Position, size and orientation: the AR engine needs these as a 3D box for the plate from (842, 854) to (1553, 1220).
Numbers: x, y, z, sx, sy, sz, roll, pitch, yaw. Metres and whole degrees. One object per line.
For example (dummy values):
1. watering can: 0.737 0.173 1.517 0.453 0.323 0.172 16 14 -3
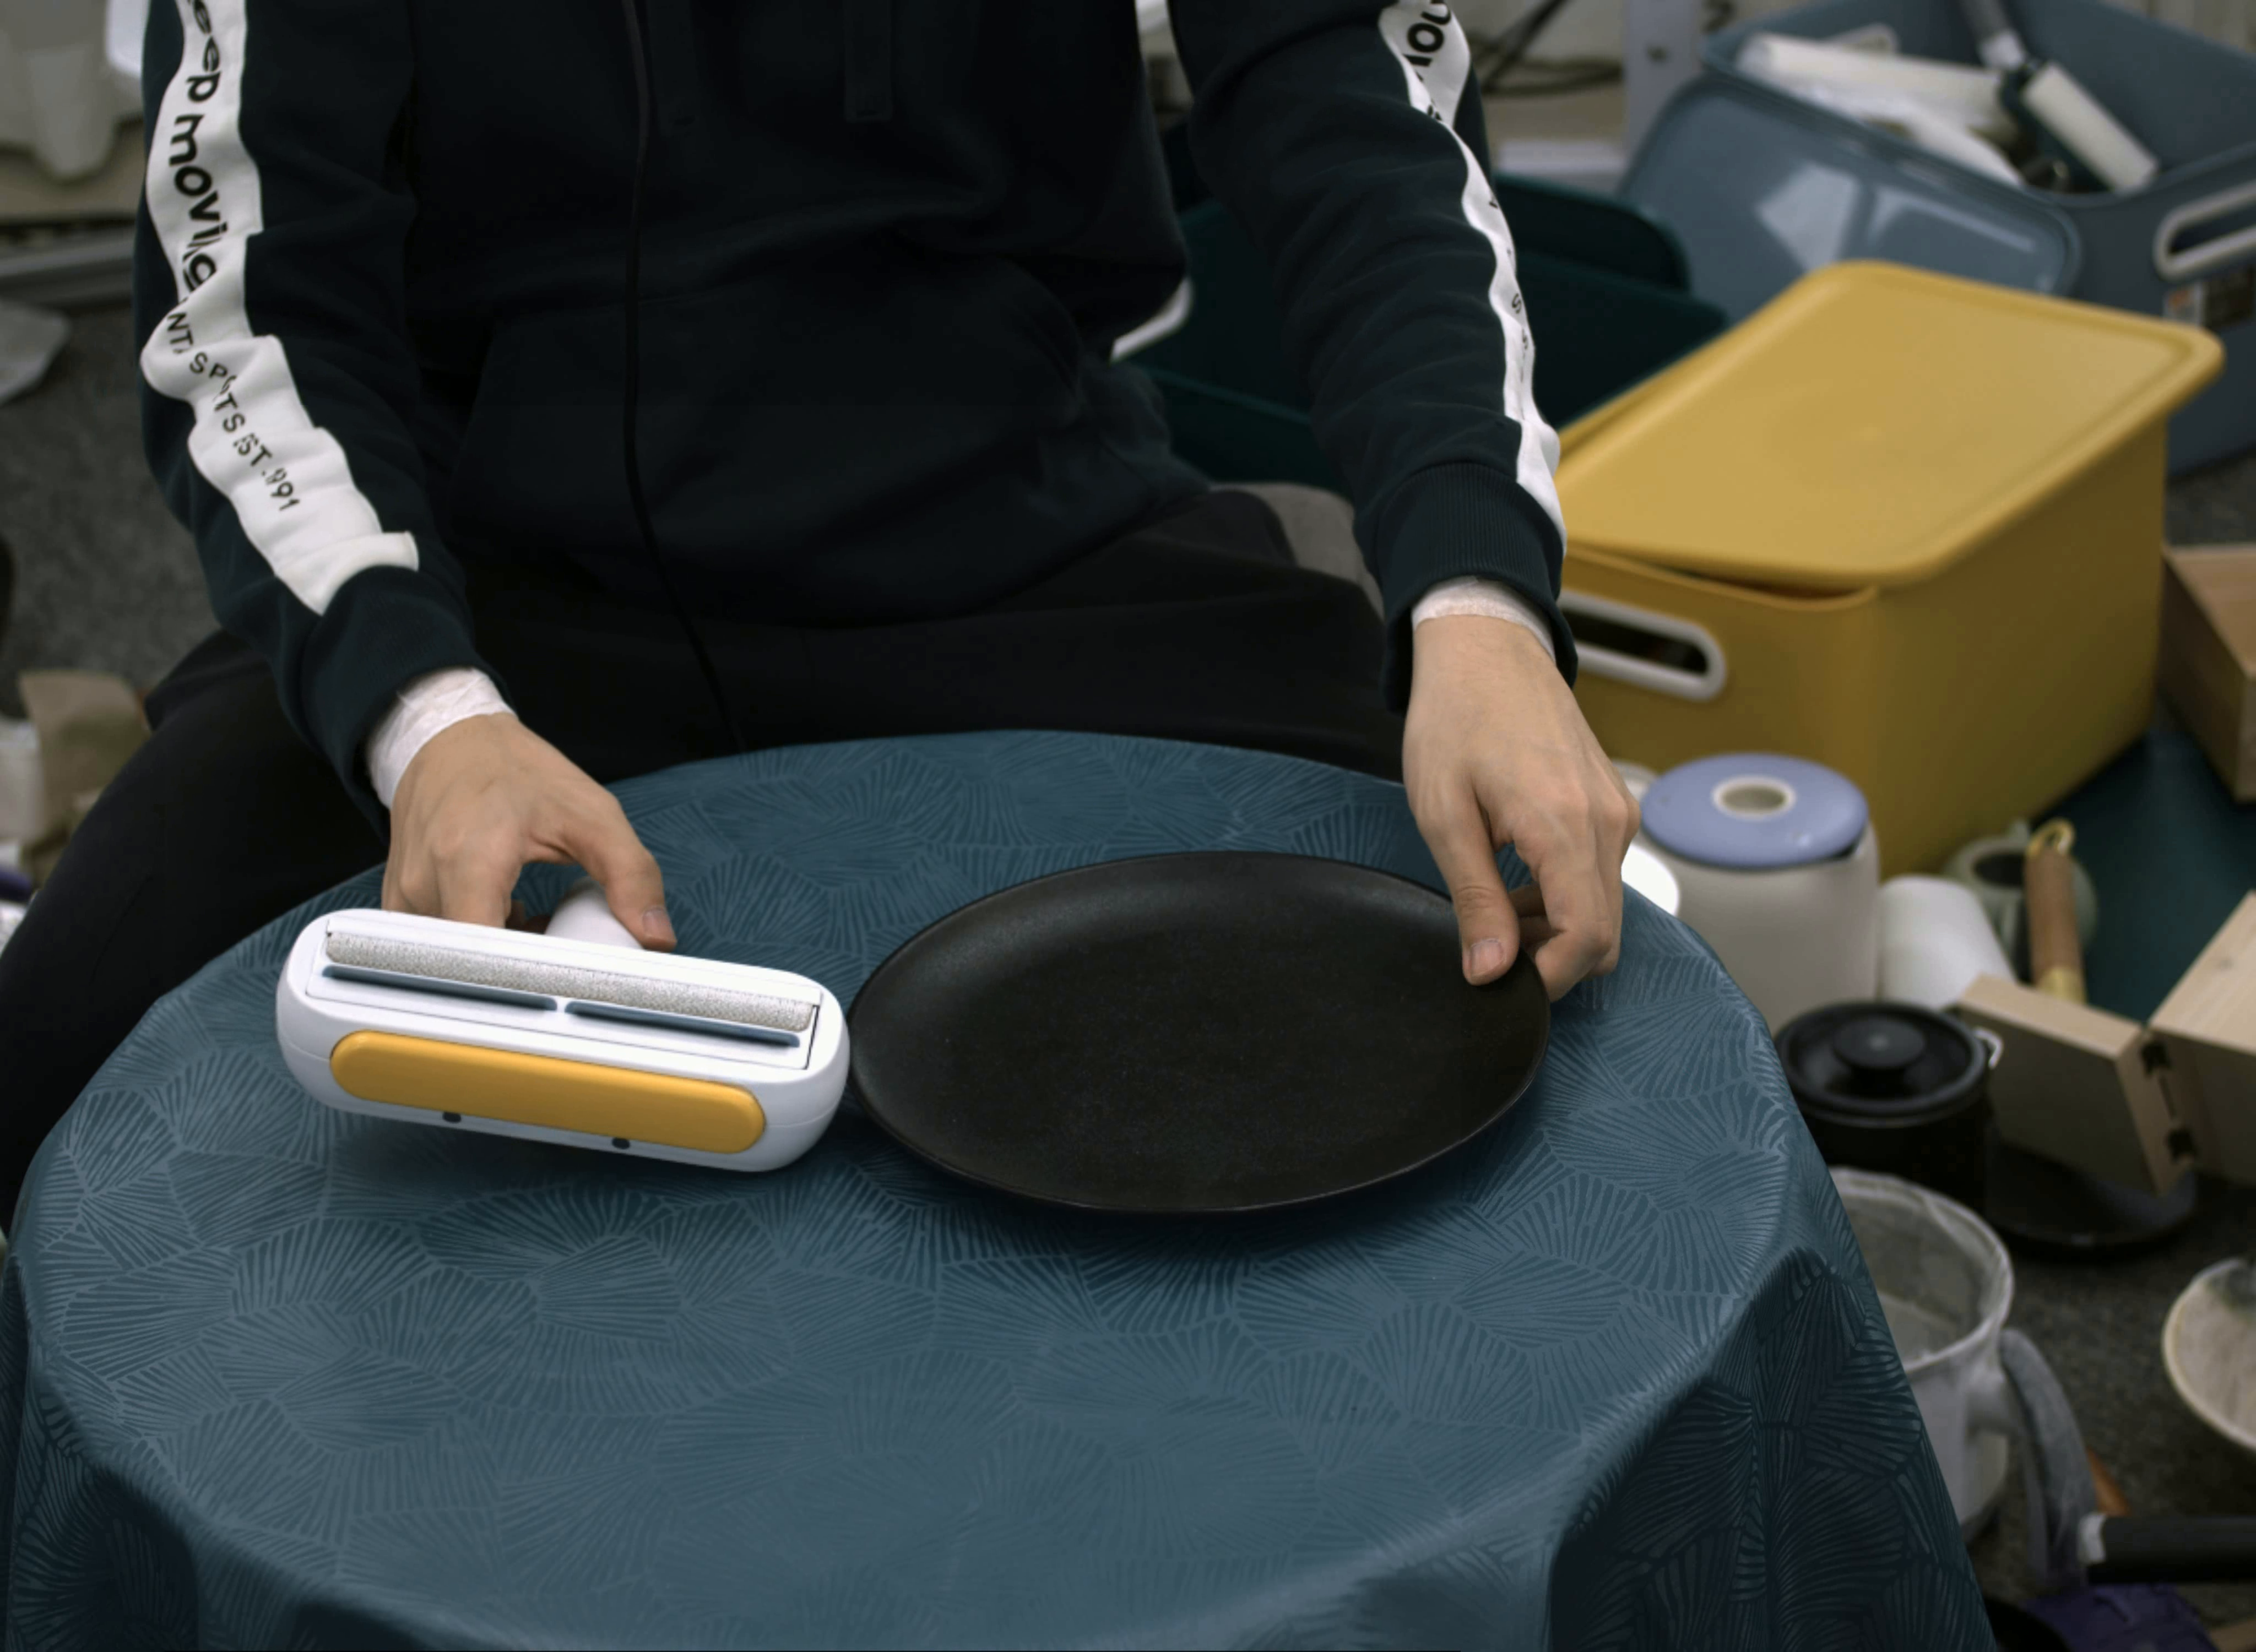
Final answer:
1. plate: 0.023 0.076 1.920 0.243 0.023 0.248 -2 28 2

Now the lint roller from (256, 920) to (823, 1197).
1. lint roller: -0.191 0.070 1.944 0.192 0.074 0.194 8 15 6
